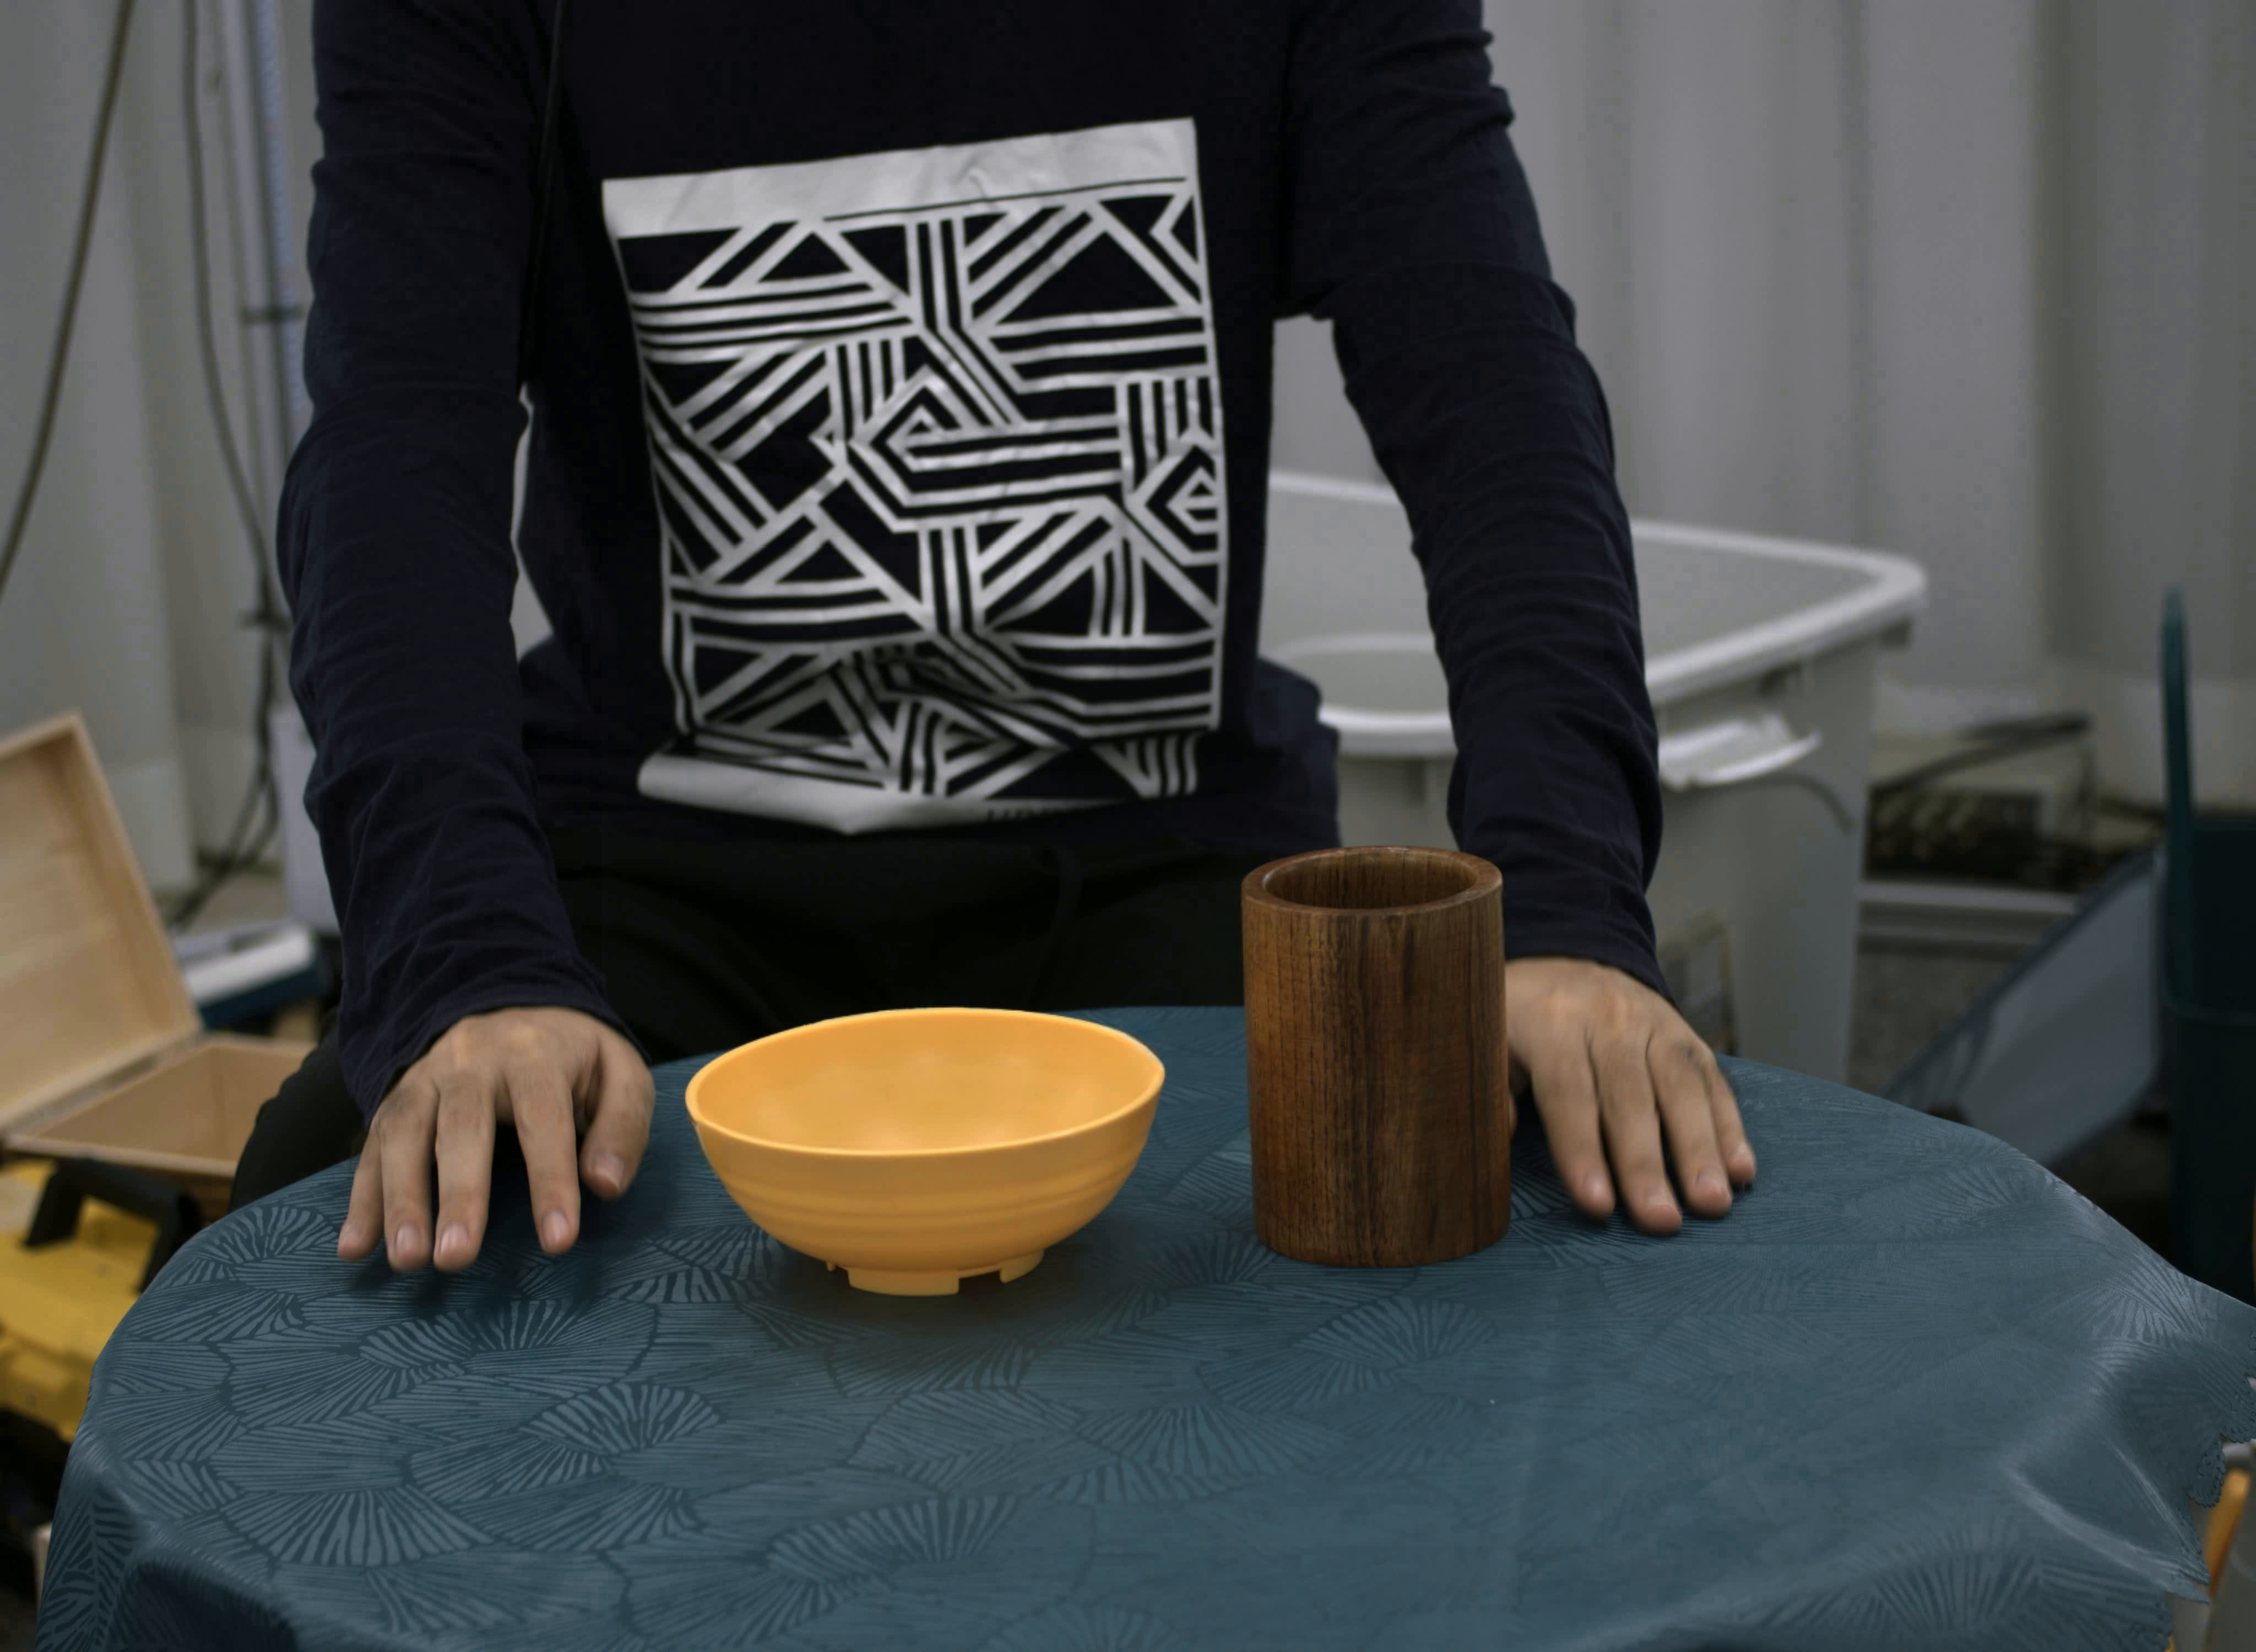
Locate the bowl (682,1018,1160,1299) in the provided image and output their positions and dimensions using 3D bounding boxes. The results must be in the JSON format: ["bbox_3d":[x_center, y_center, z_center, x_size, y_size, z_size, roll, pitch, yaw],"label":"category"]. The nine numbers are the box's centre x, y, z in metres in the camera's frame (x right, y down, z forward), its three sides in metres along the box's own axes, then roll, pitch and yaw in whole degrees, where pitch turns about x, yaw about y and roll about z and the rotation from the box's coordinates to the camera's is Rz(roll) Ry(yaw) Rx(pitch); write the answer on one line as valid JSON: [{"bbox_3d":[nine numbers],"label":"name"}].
[{"bbox_3d":[-0.062,0.105,1.654,0.145,0.060,0.146,-2,13,0],"label":"bowl"}]

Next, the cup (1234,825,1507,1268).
[{"bbox_3d":[0.073,0.066,1.658,0.087,0.118,0.088,-1,13,0],"label":"cup"}]
